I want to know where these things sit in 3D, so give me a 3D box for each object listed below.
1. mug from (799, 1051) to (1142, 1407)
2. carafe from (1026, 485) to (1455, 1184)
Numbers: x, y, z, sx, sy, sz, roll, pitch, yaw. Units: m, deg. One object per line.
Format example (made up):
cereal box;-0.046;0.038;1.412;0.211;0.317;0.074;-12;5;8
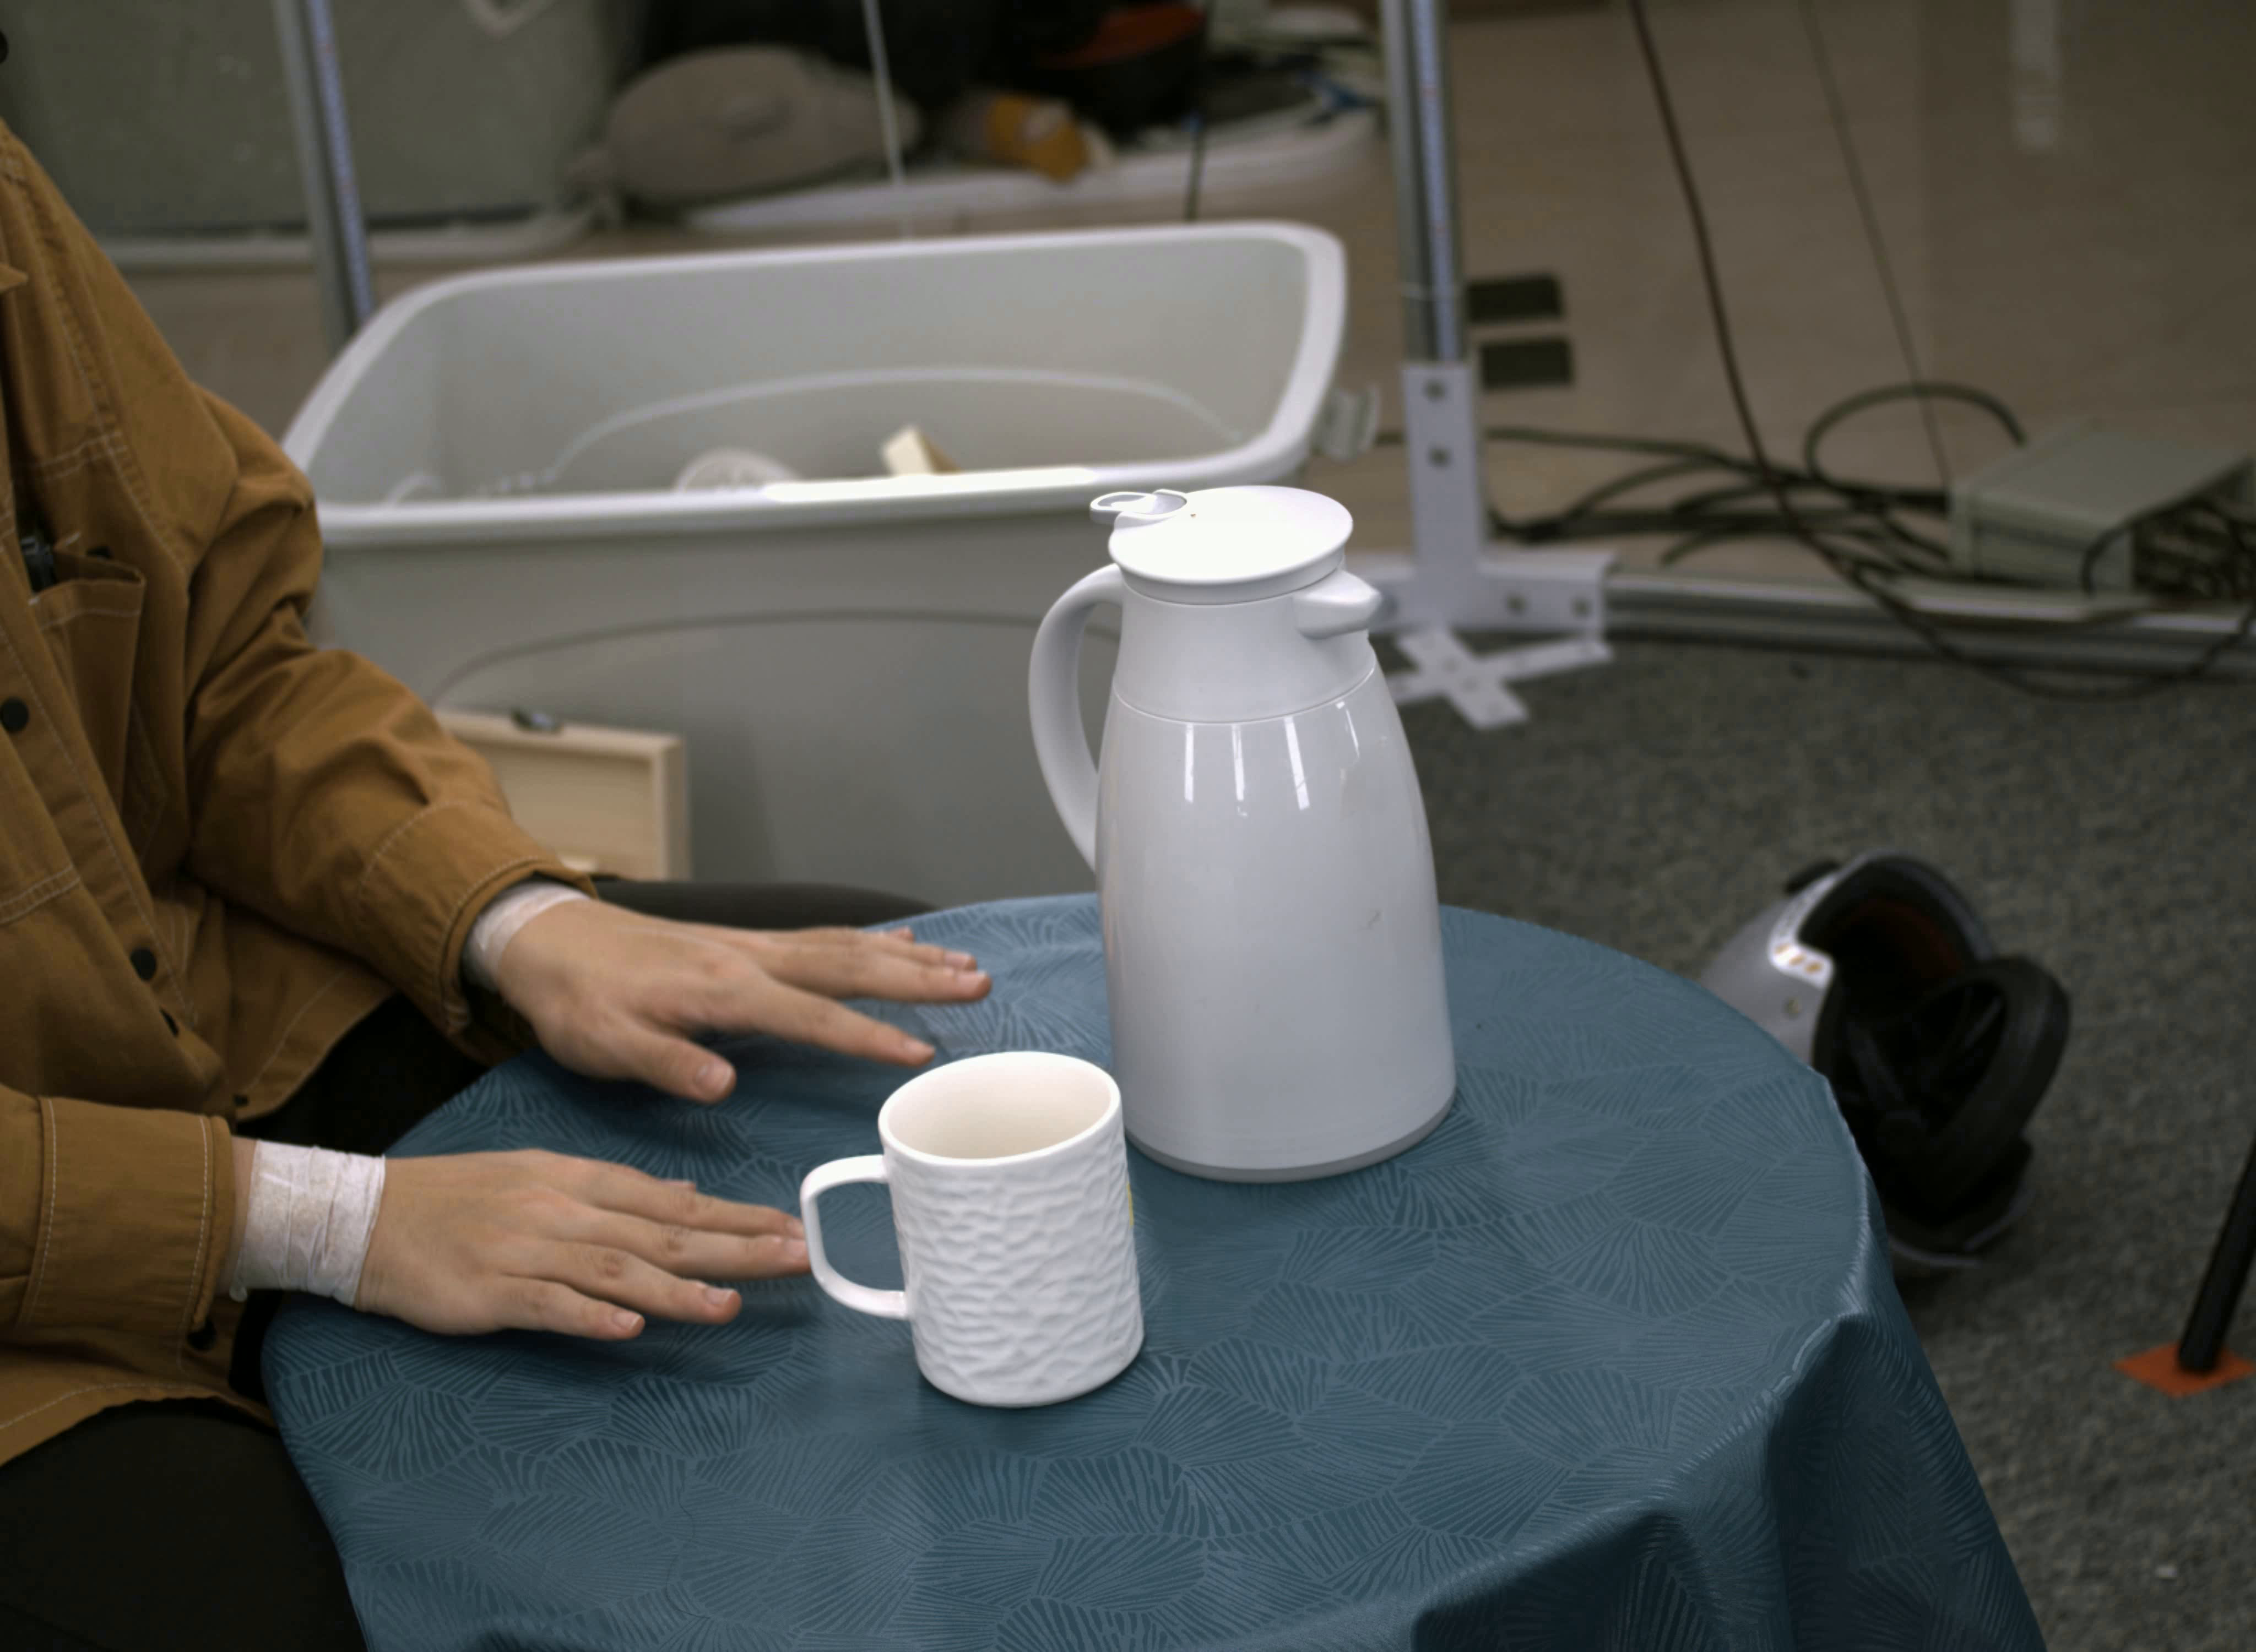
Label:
mug;-0.056;0.146;2.025;0.118;0.103;0.083;-6;26;0
carafe;0.034;-0.007;2.156;0.167;0.252;0.131;14;33;36
